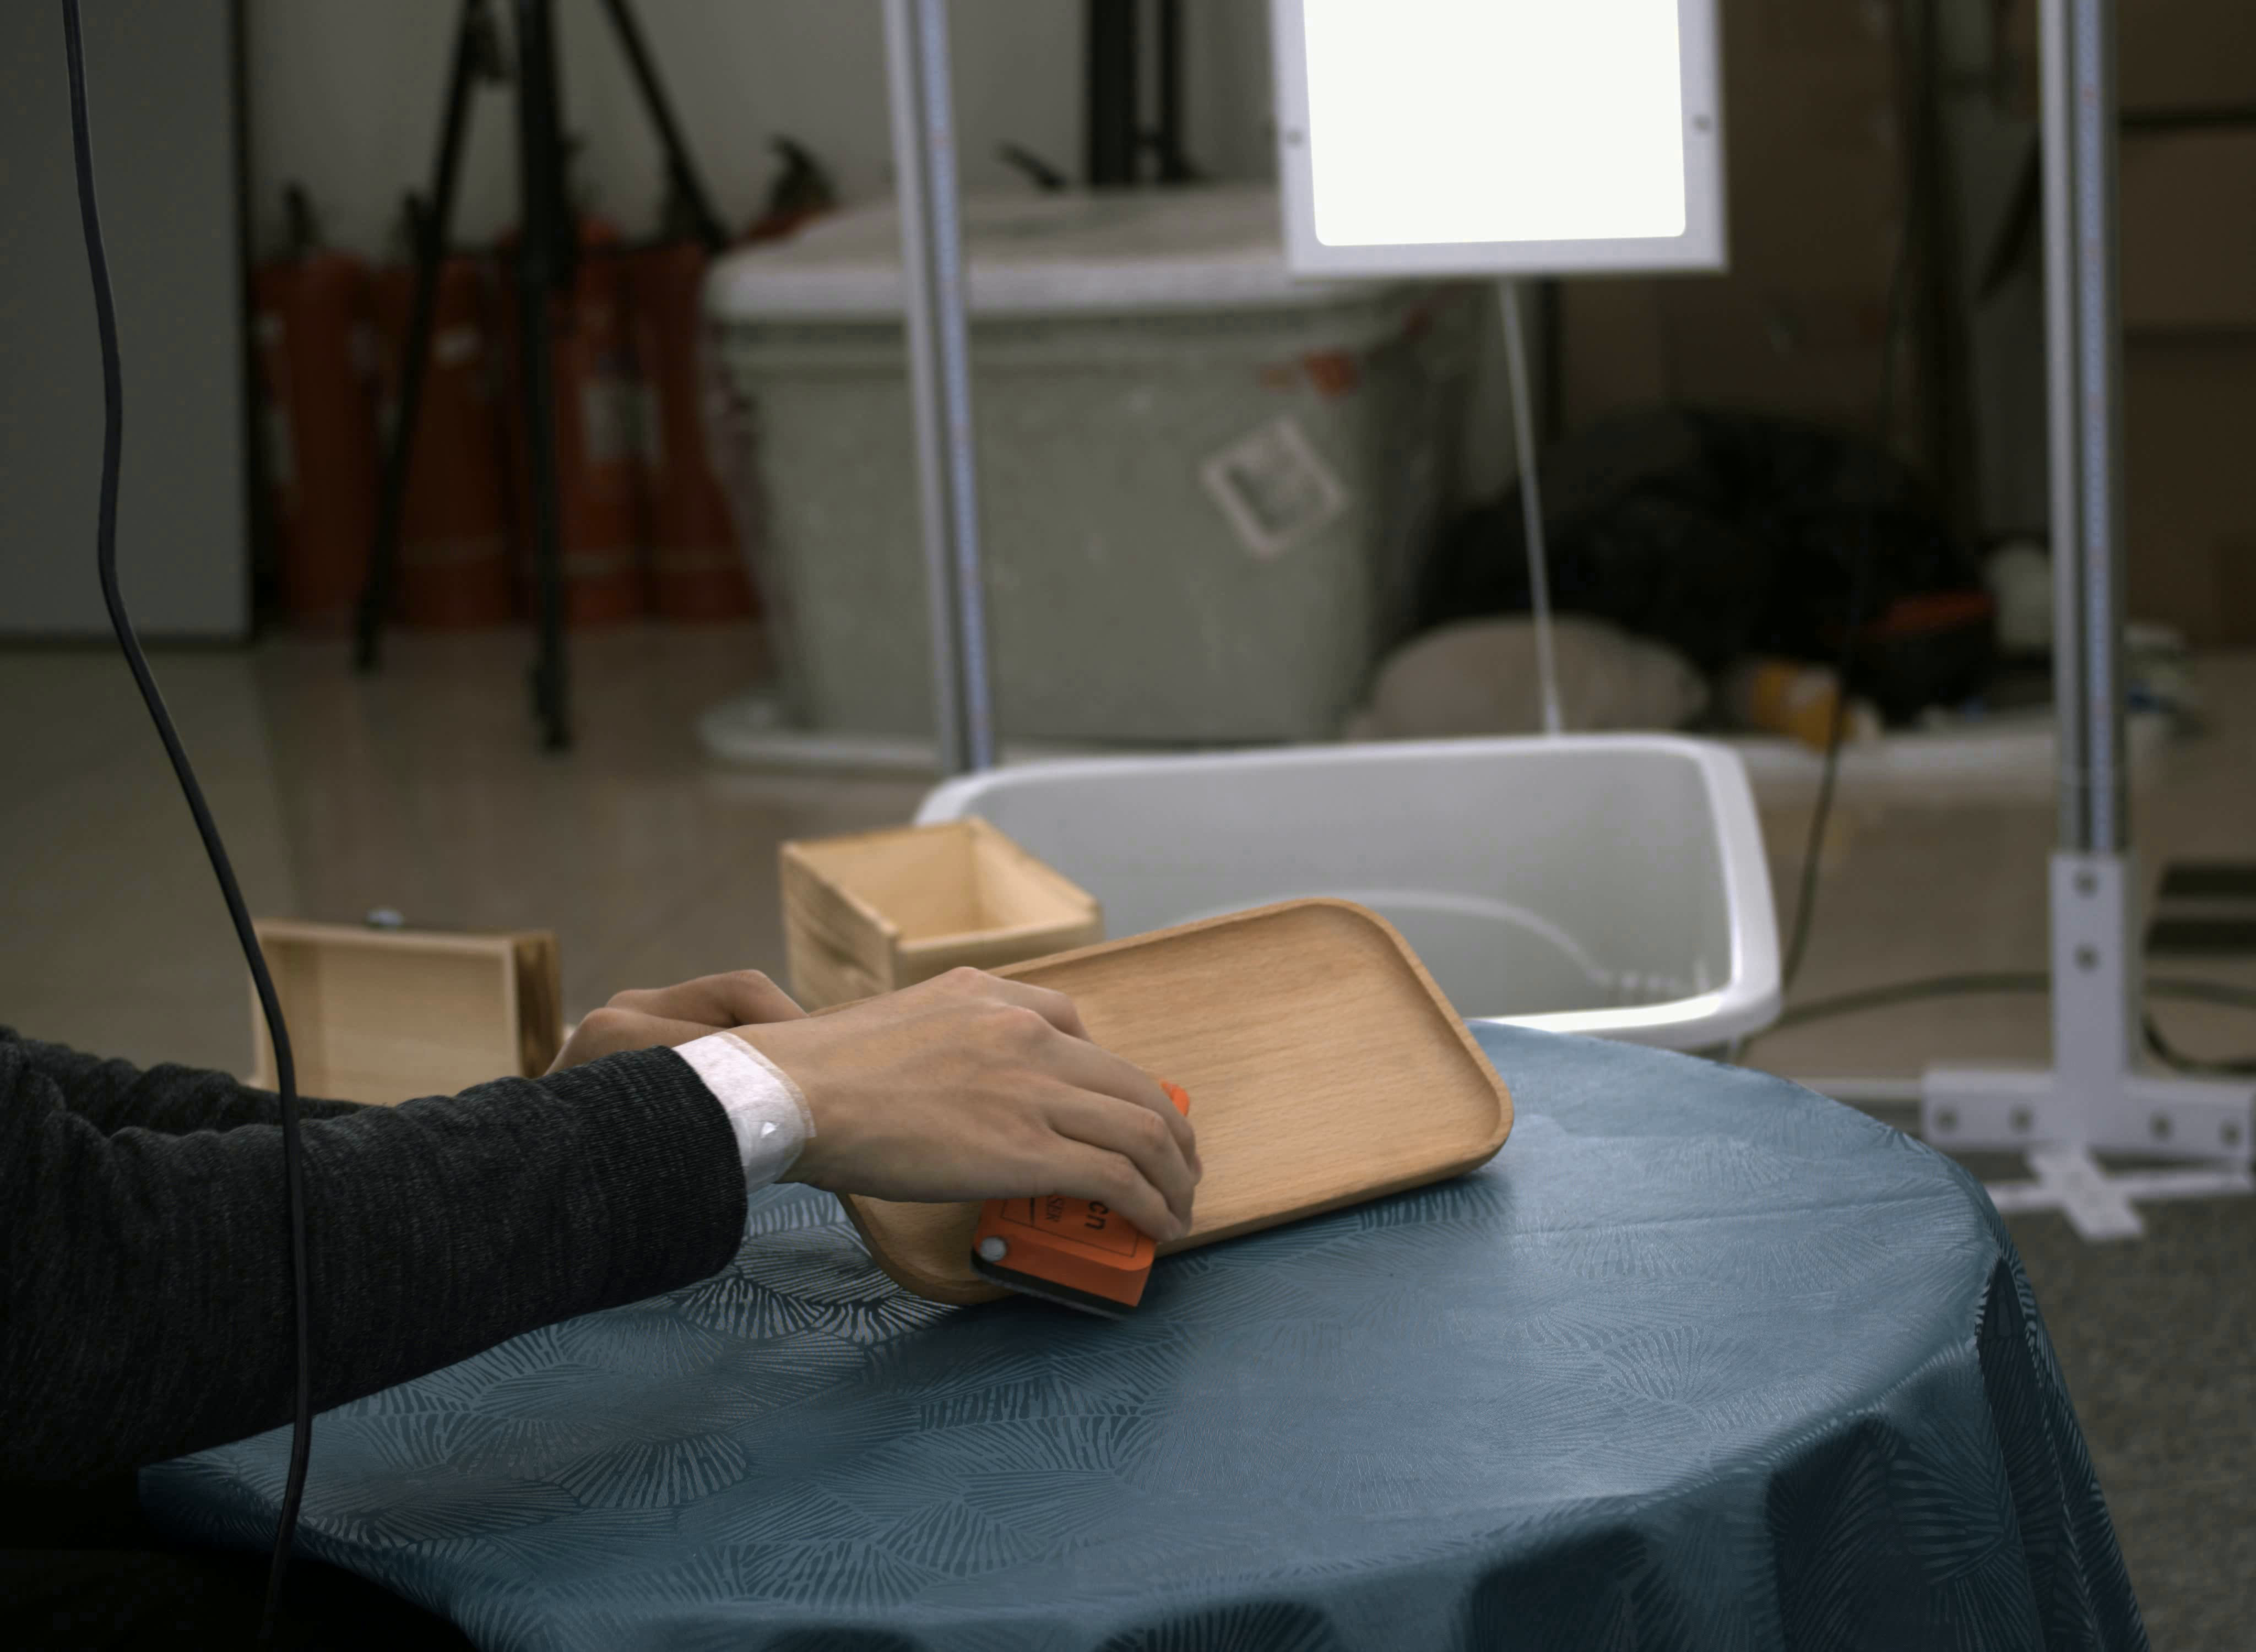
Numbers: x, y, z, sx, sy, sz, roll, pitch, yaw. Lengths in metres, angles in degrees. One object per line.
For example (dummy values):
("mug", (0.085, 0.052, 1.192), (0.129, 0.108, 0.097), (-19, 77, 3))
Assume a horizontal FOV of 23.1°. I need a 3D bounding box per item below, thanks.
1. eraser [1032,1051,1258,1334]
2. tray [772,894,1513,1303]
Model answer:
("eraser", (0.005, 0.120, 1.812), (0.058, 0.023, 0.108), (3, 42, -15))
("tray", (0.006, 0.091, 1.868), (0.245, 0.023, 0.132), (-12, 48, -26))
